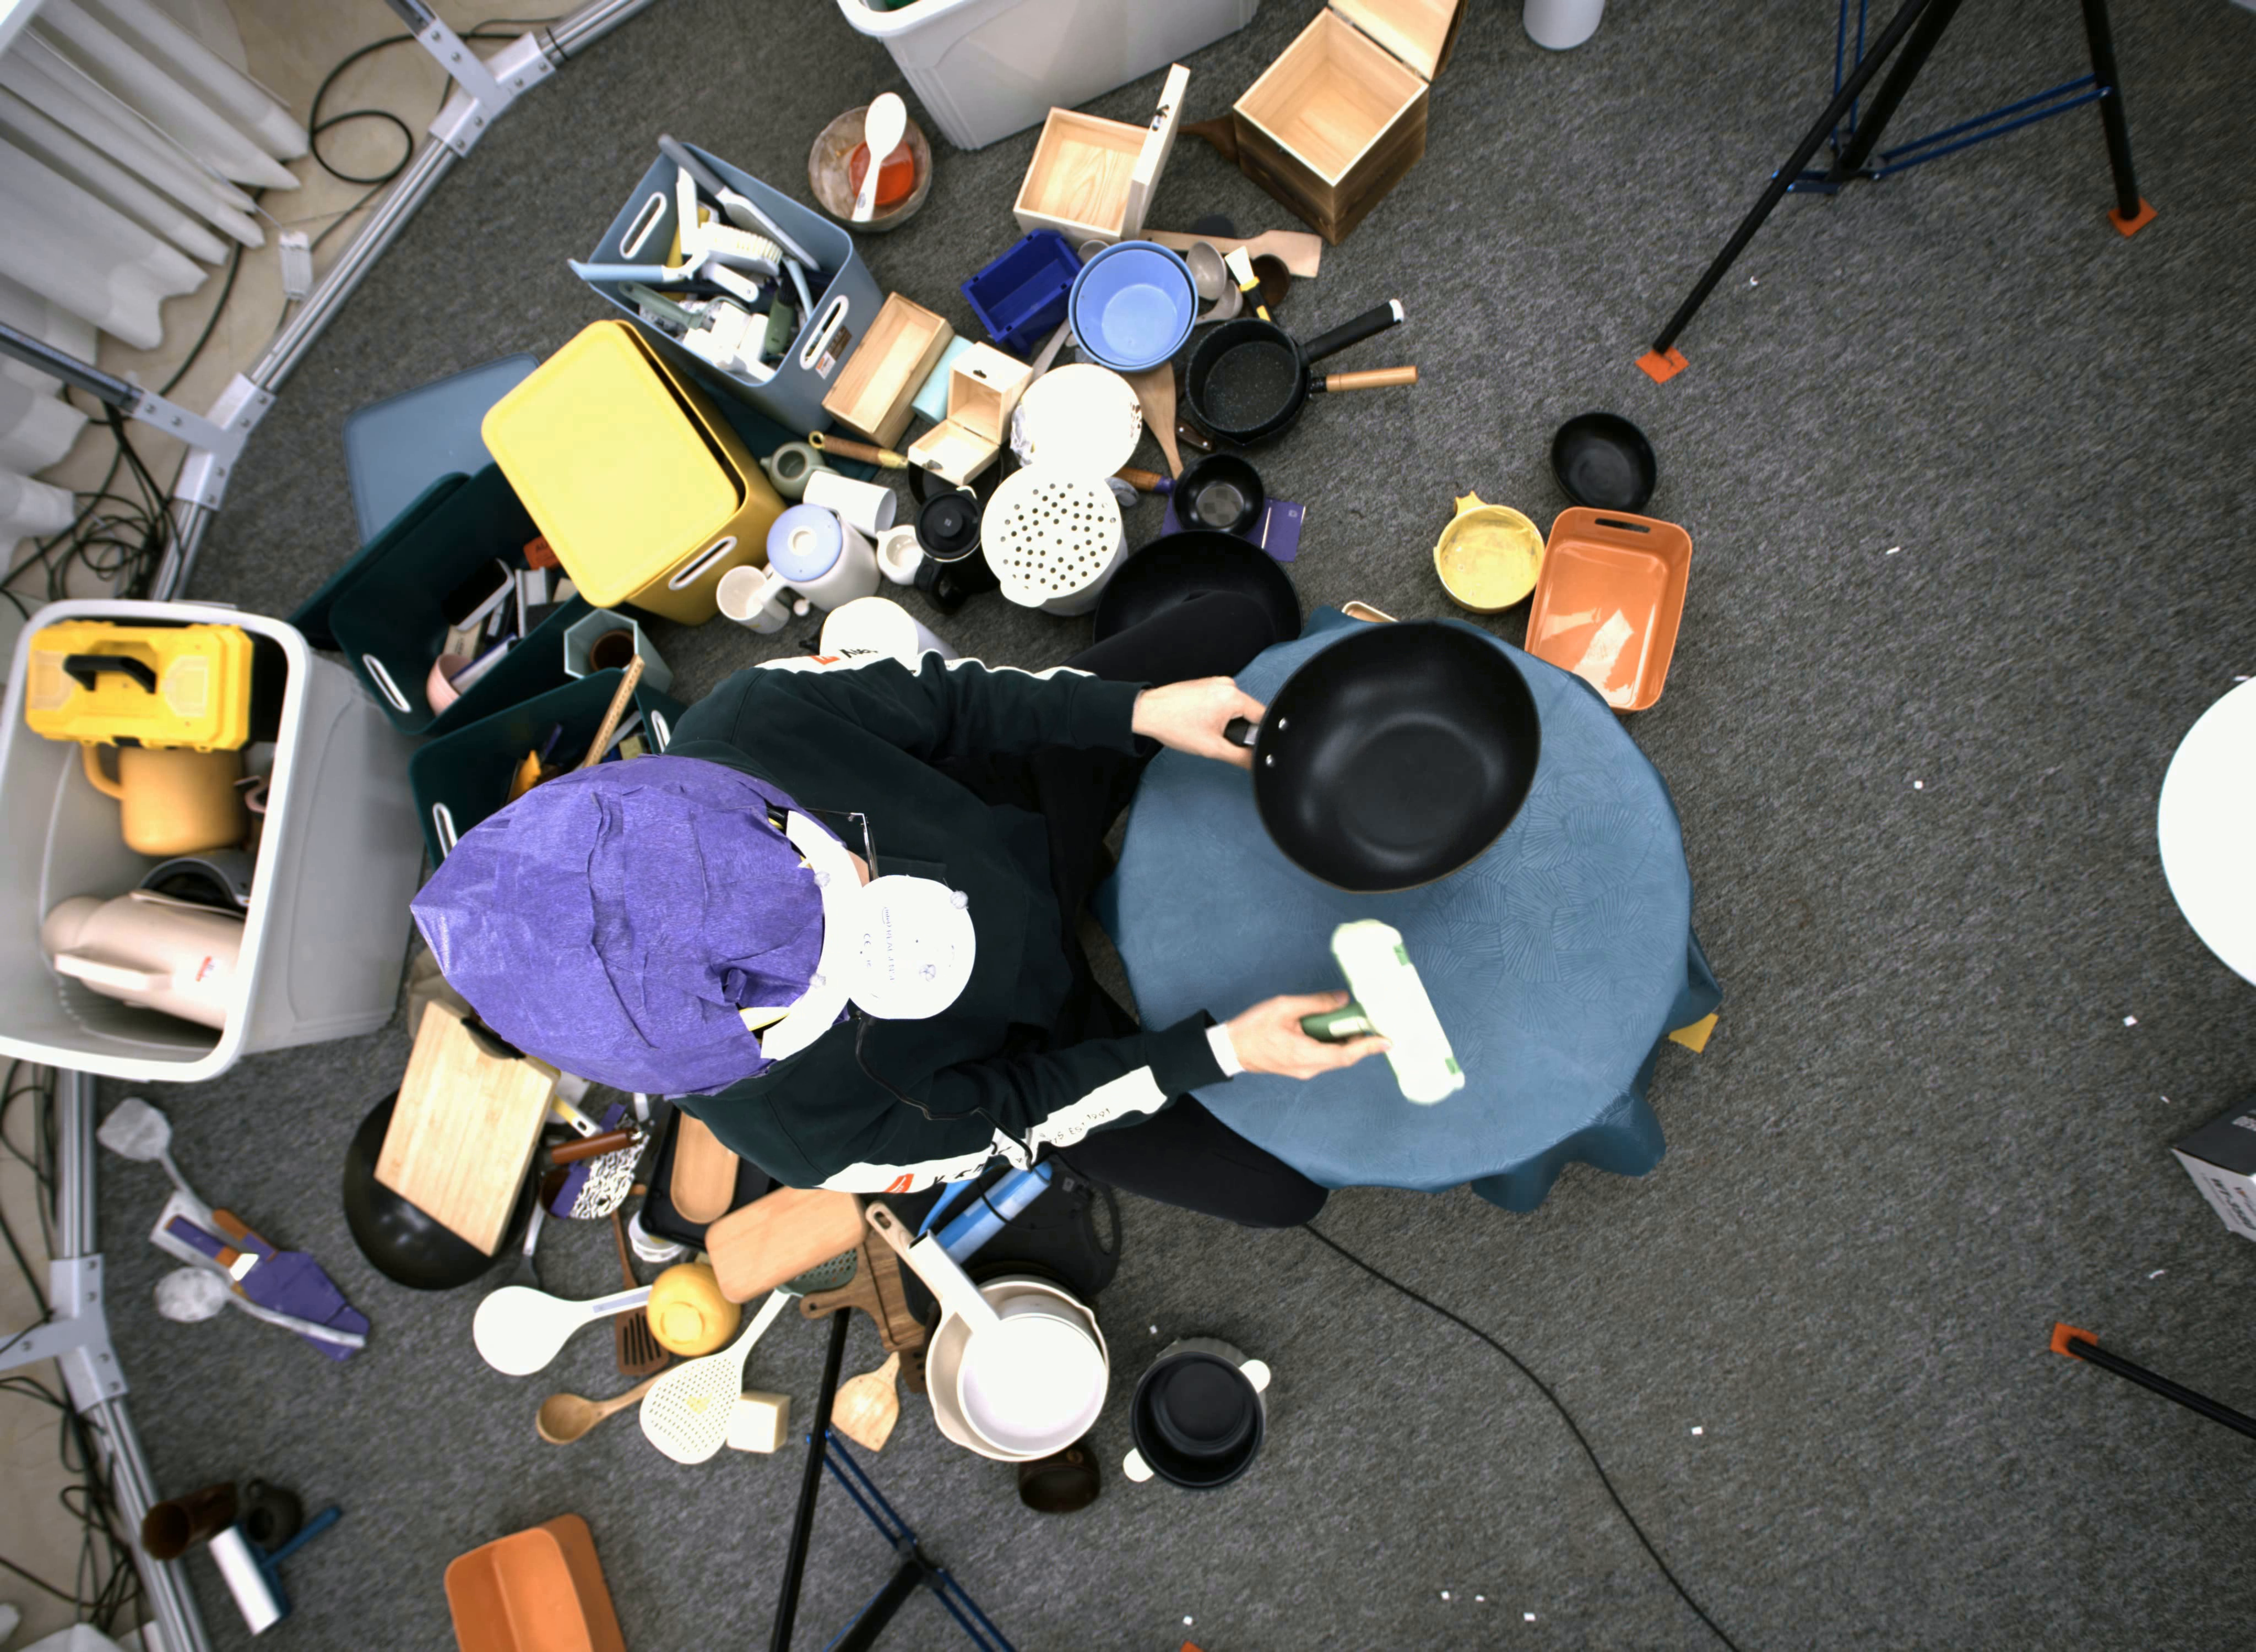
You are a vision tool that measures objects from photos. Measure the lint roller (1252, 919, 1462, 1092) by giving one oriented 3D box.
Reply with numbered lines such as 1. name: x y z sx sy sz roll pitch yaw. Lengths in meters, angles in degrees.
1. lint roller: 0.200 0.192 1.323 0.185 0.080 0.201 -20 121 23

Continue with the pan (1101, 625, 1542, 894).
1. pan: 0.181 -0.068 1.360 0.464 0.088 0.284 11 72 31
